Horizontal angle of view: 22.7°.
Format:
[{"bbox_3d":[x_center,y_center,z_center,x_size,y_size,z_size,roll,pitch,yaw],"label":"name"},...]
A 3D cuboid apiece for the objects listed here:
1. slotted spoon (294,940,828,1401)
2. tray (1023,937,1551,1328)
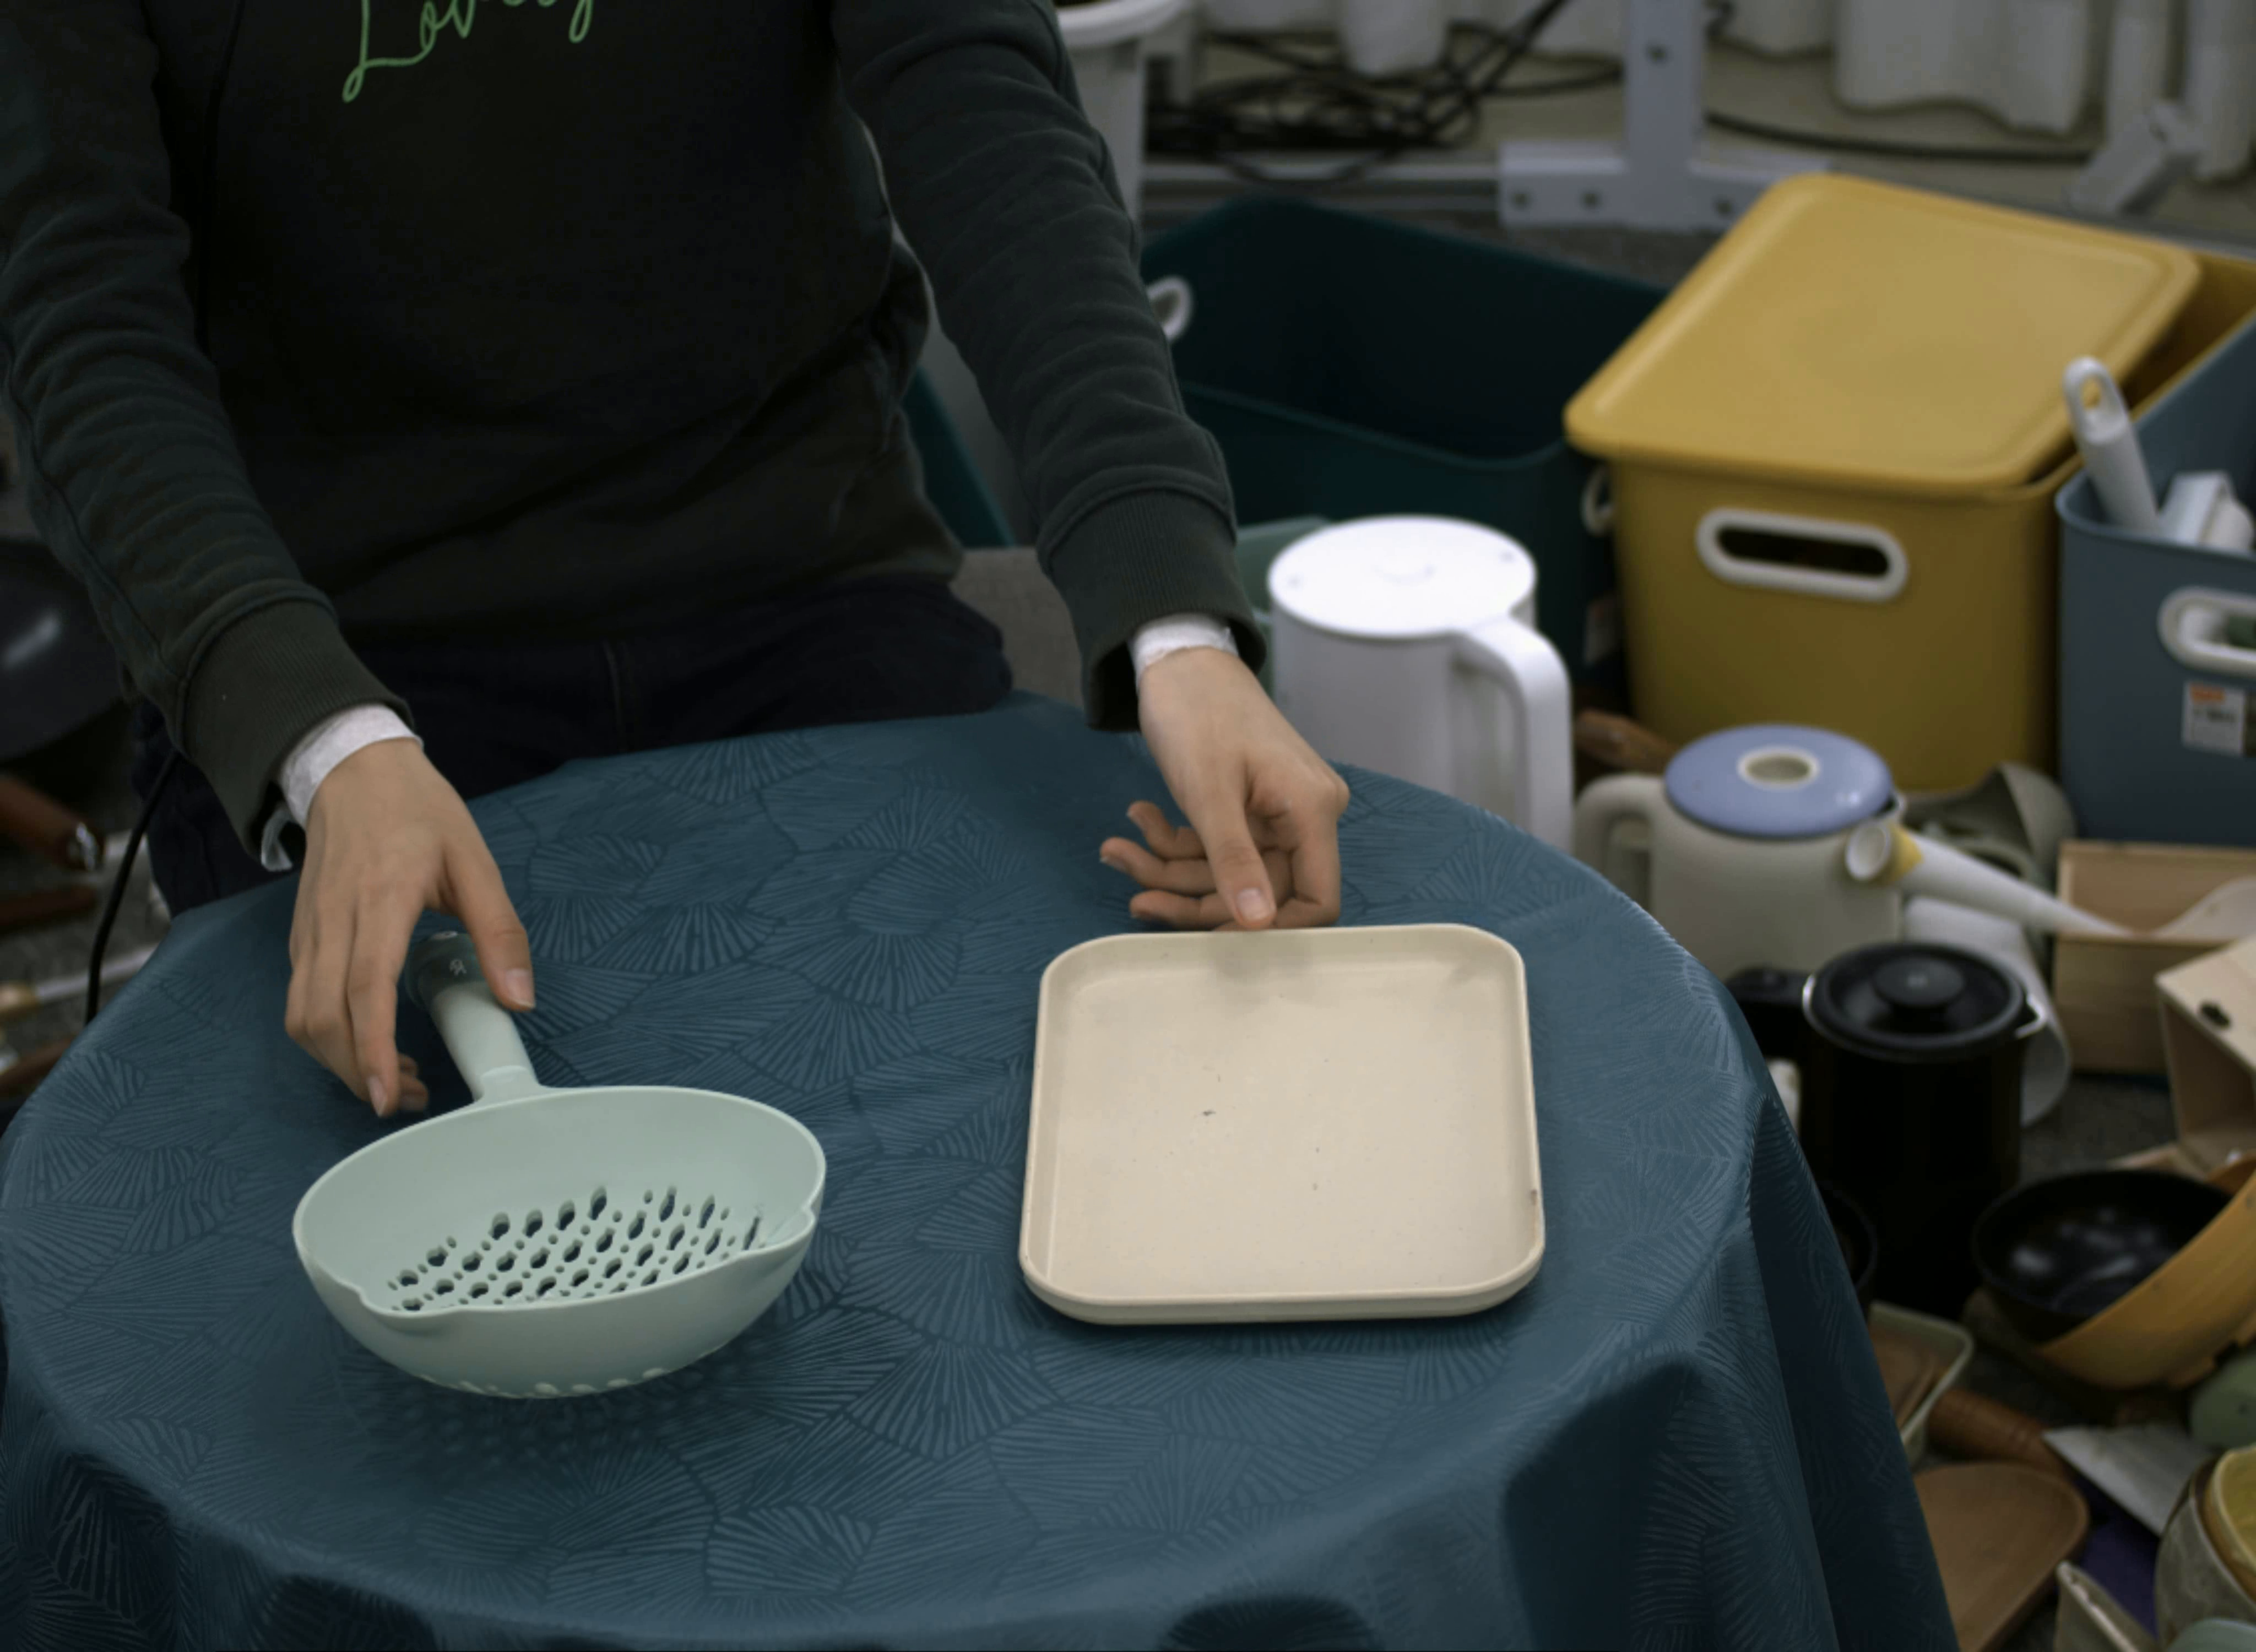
[{"bbox_3d":[-0.202,0.098,1.859,0.169,0.074,0.362,-9,27,-13],"label":"slotted spoon"},{"bbox_3d":[0.052,0.101,1.878,0.170,0.017,0.243,-2,26,2],"label":"tray"}]
